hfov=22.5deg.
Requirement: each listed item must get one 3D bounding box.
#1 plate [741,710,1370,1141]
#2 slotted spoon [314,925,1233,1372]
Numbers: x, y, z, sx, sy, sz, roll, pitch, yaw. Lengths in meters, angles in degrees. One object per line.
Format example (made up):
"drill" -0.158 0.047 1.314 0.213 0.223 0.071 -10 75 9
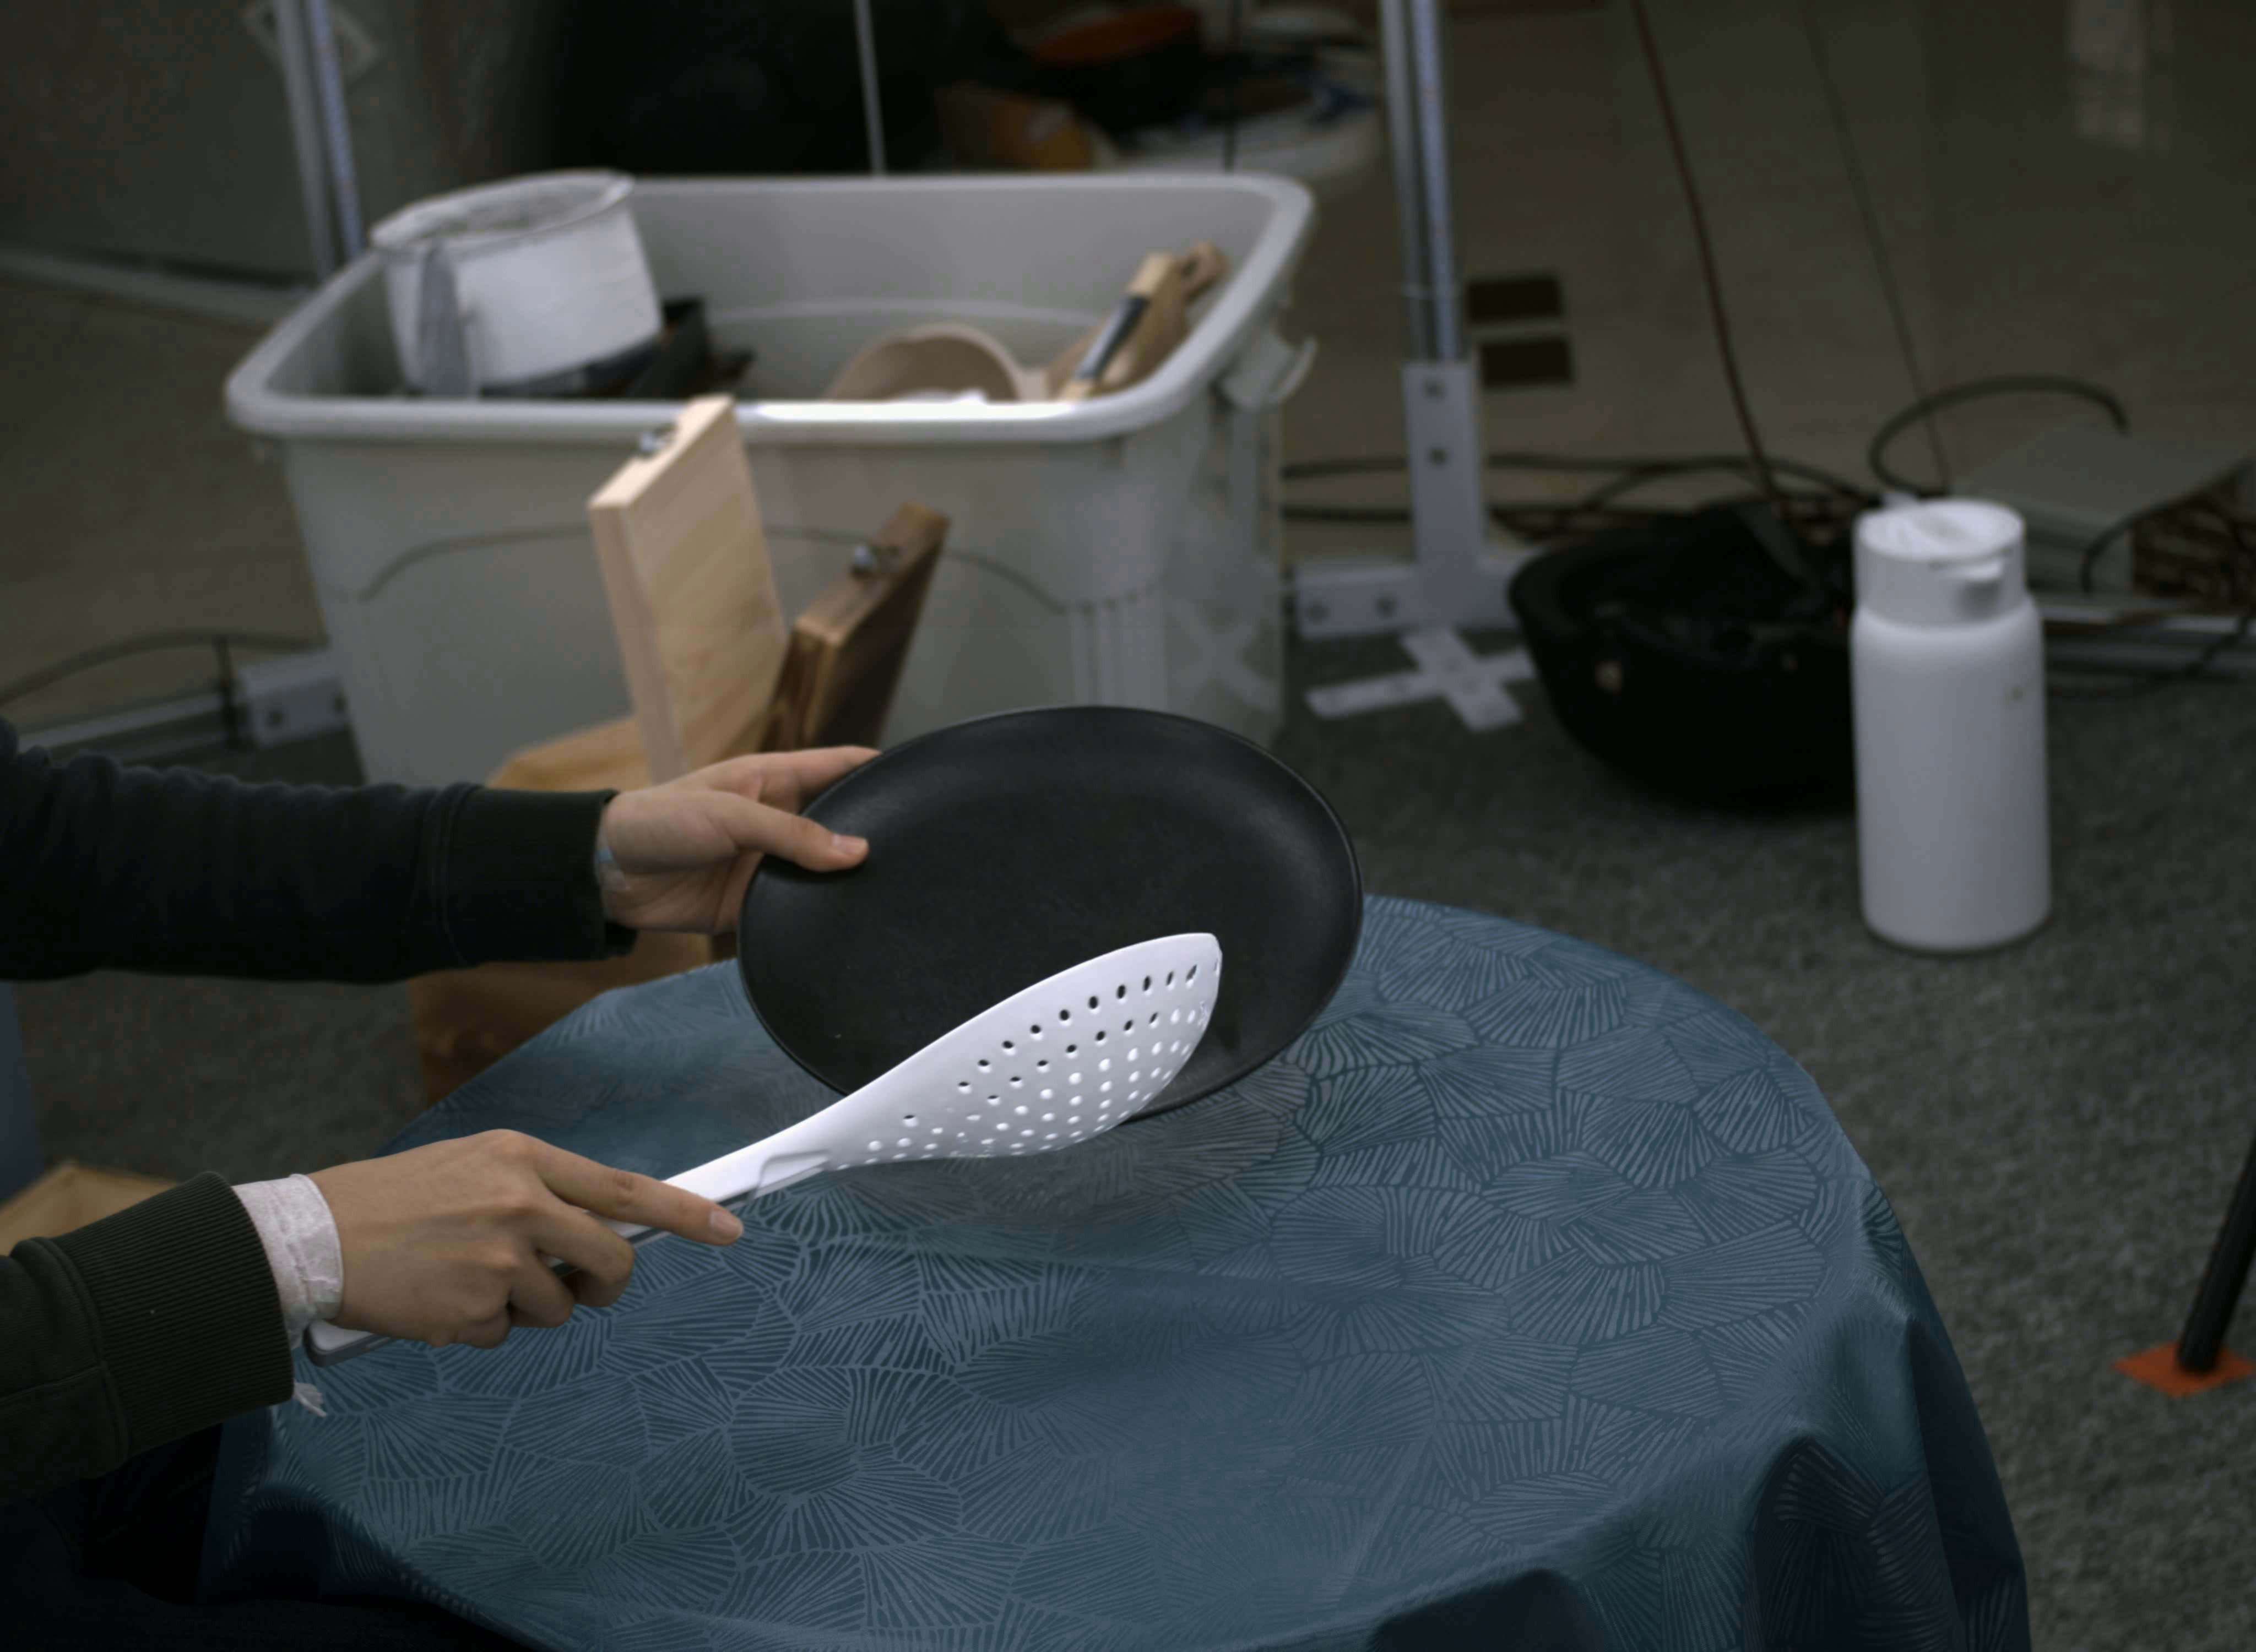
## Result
"plate" -0.027 0.042 2.191 0.244 0.024 0.240 -3 43 3
"slotted spoon" -0.118 0.114 1.962 0.348 0.138 0.045 -17 72 -15
